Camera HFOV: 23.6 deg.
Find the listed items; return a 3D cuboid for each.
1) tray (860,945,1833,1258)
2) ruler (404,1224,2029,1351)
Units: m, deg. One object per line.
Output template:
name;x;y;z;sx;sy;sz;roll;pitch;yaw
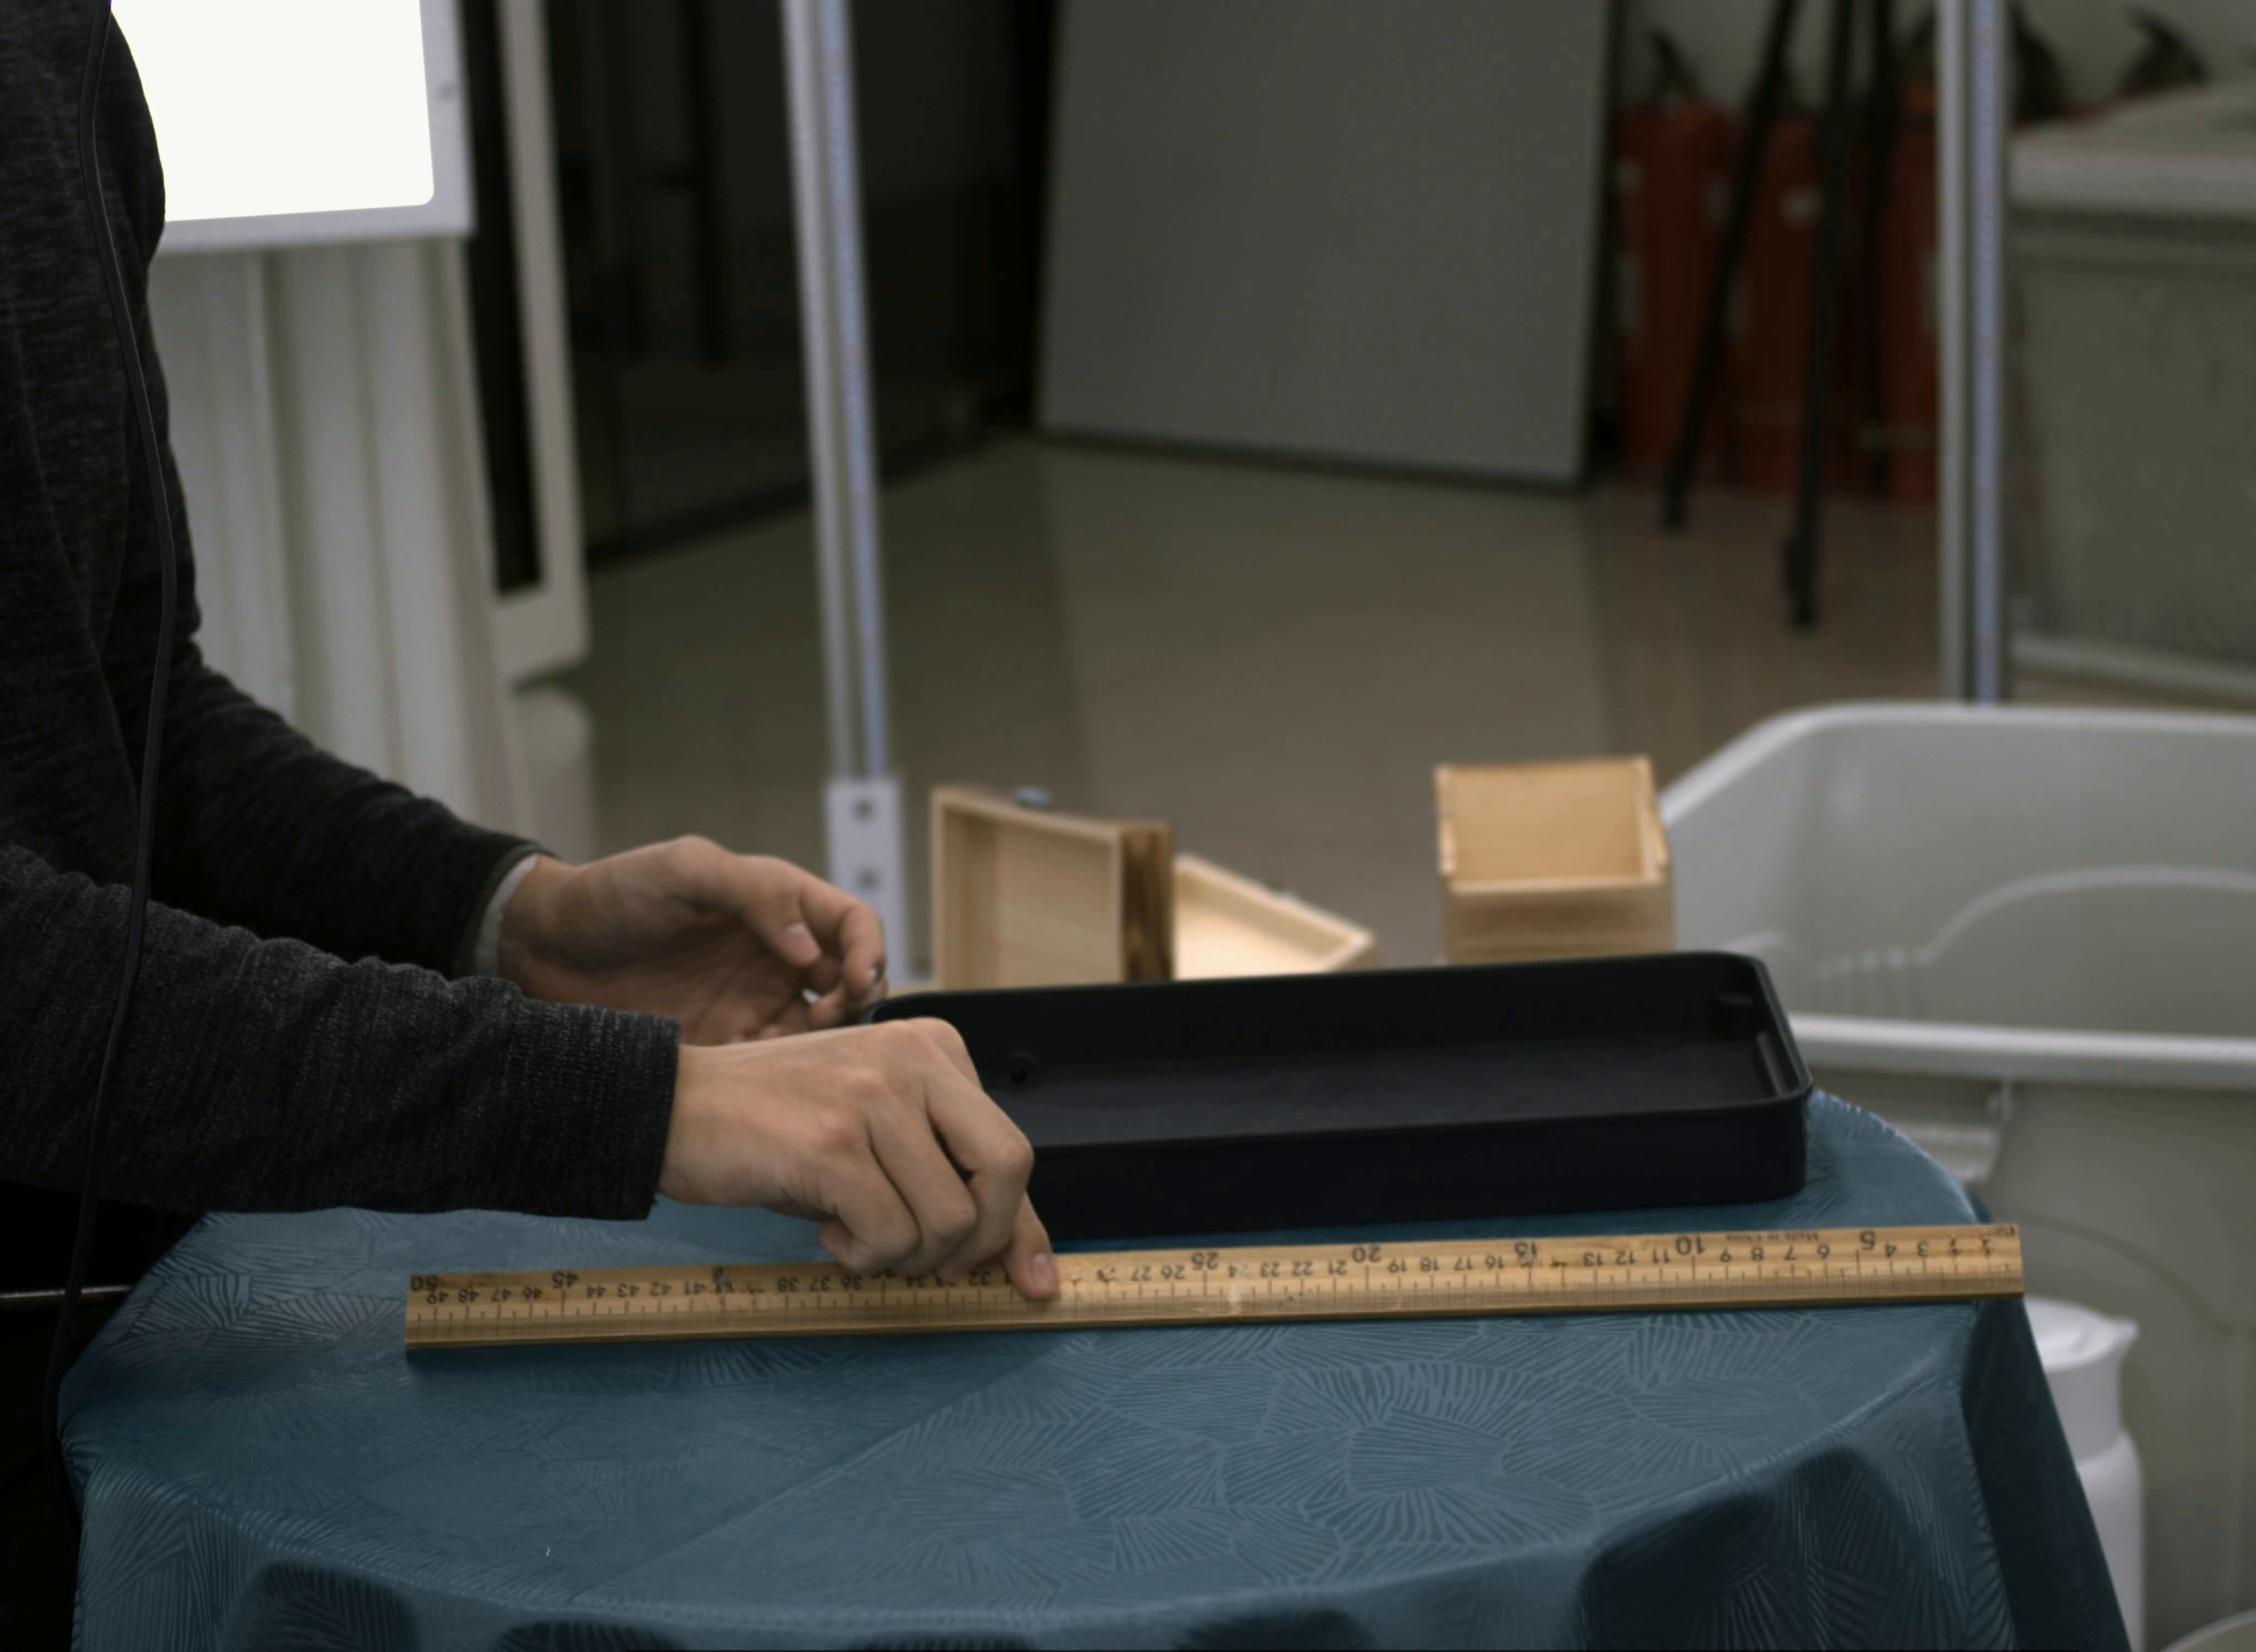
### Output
tray;0.070;0.090;1.801;0.314;0.037;0.184;-5;13;1
ruler;0.024;0.140;1.641;0.496;0.027;0.006;-2;-31;7
